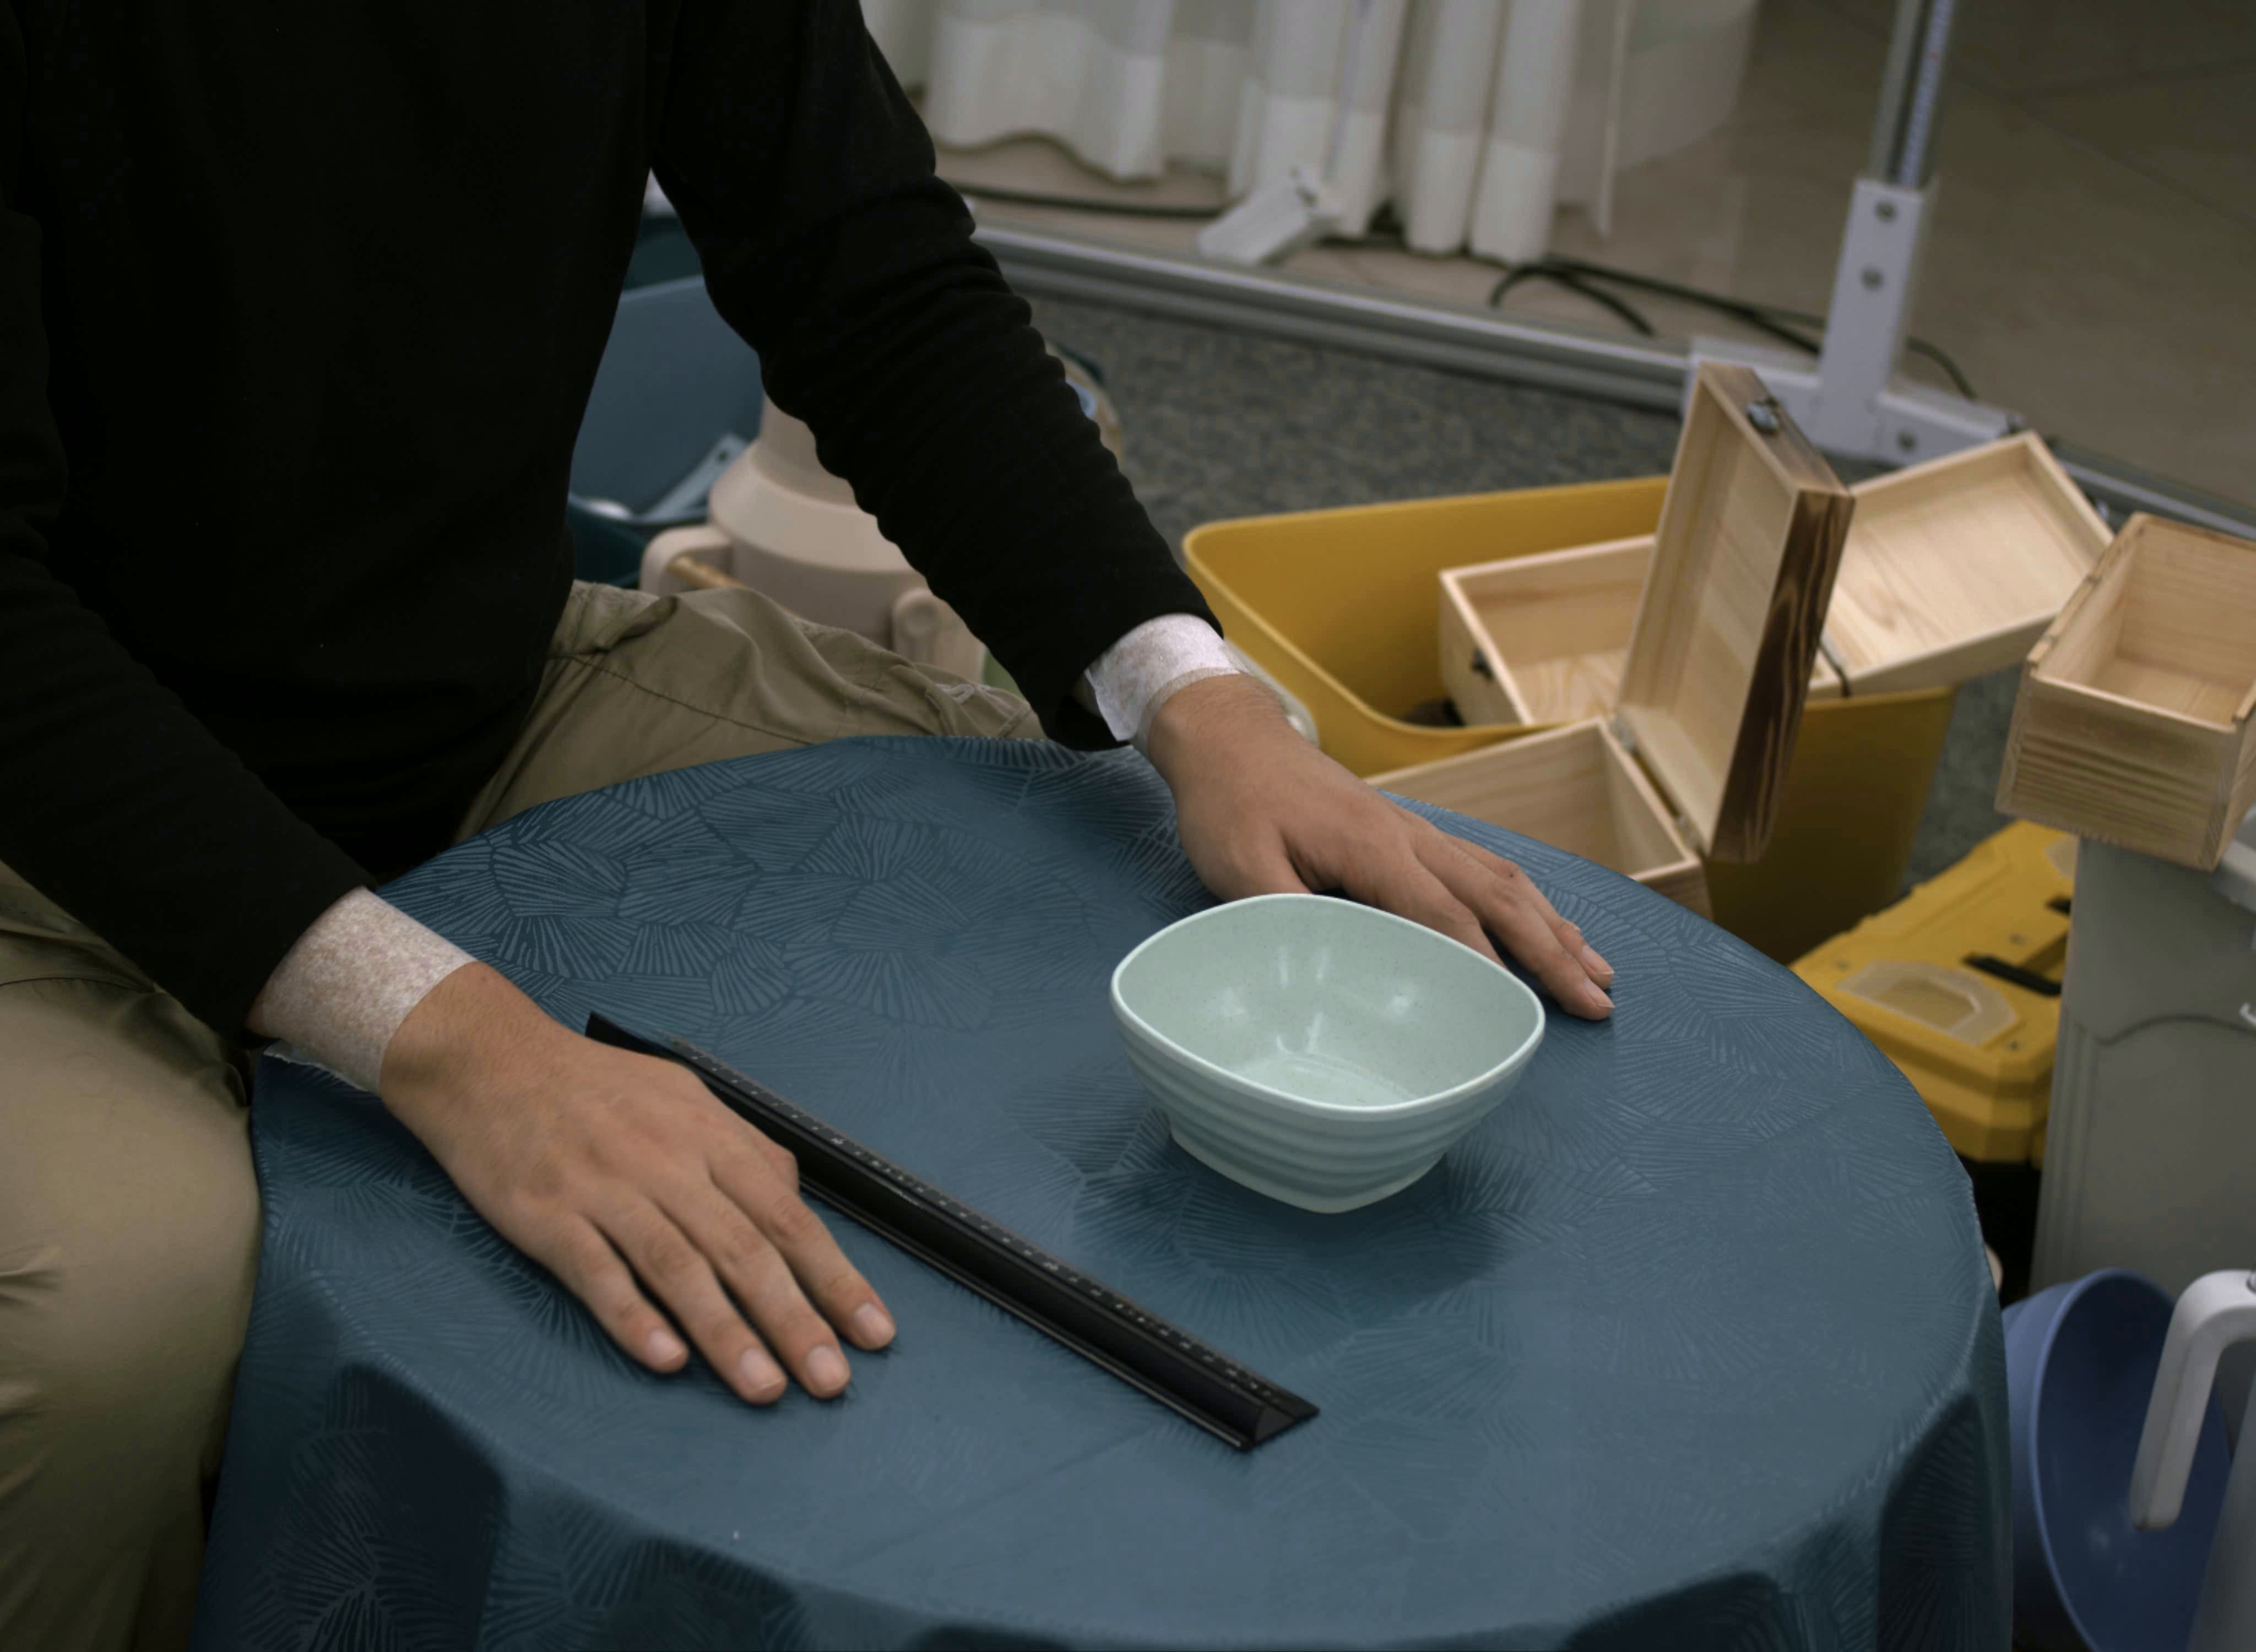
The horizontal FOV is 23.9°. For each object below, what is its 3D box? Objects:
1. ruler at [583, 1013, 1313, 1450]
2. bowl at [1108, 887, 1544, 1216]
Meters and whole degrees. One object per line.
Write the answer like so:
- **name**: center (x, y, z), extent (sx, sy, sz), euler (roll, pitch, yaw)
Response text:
- **ruler**: center (-0.063, 0.127, 1.765), extent (0.315, 0.017, 0.039), euler (28, 30, 36)
- **bowl**: center (0.065, 0.084, 1.833), extent (0.151, 0.058, 0.152), euler (6, 29, -4)
